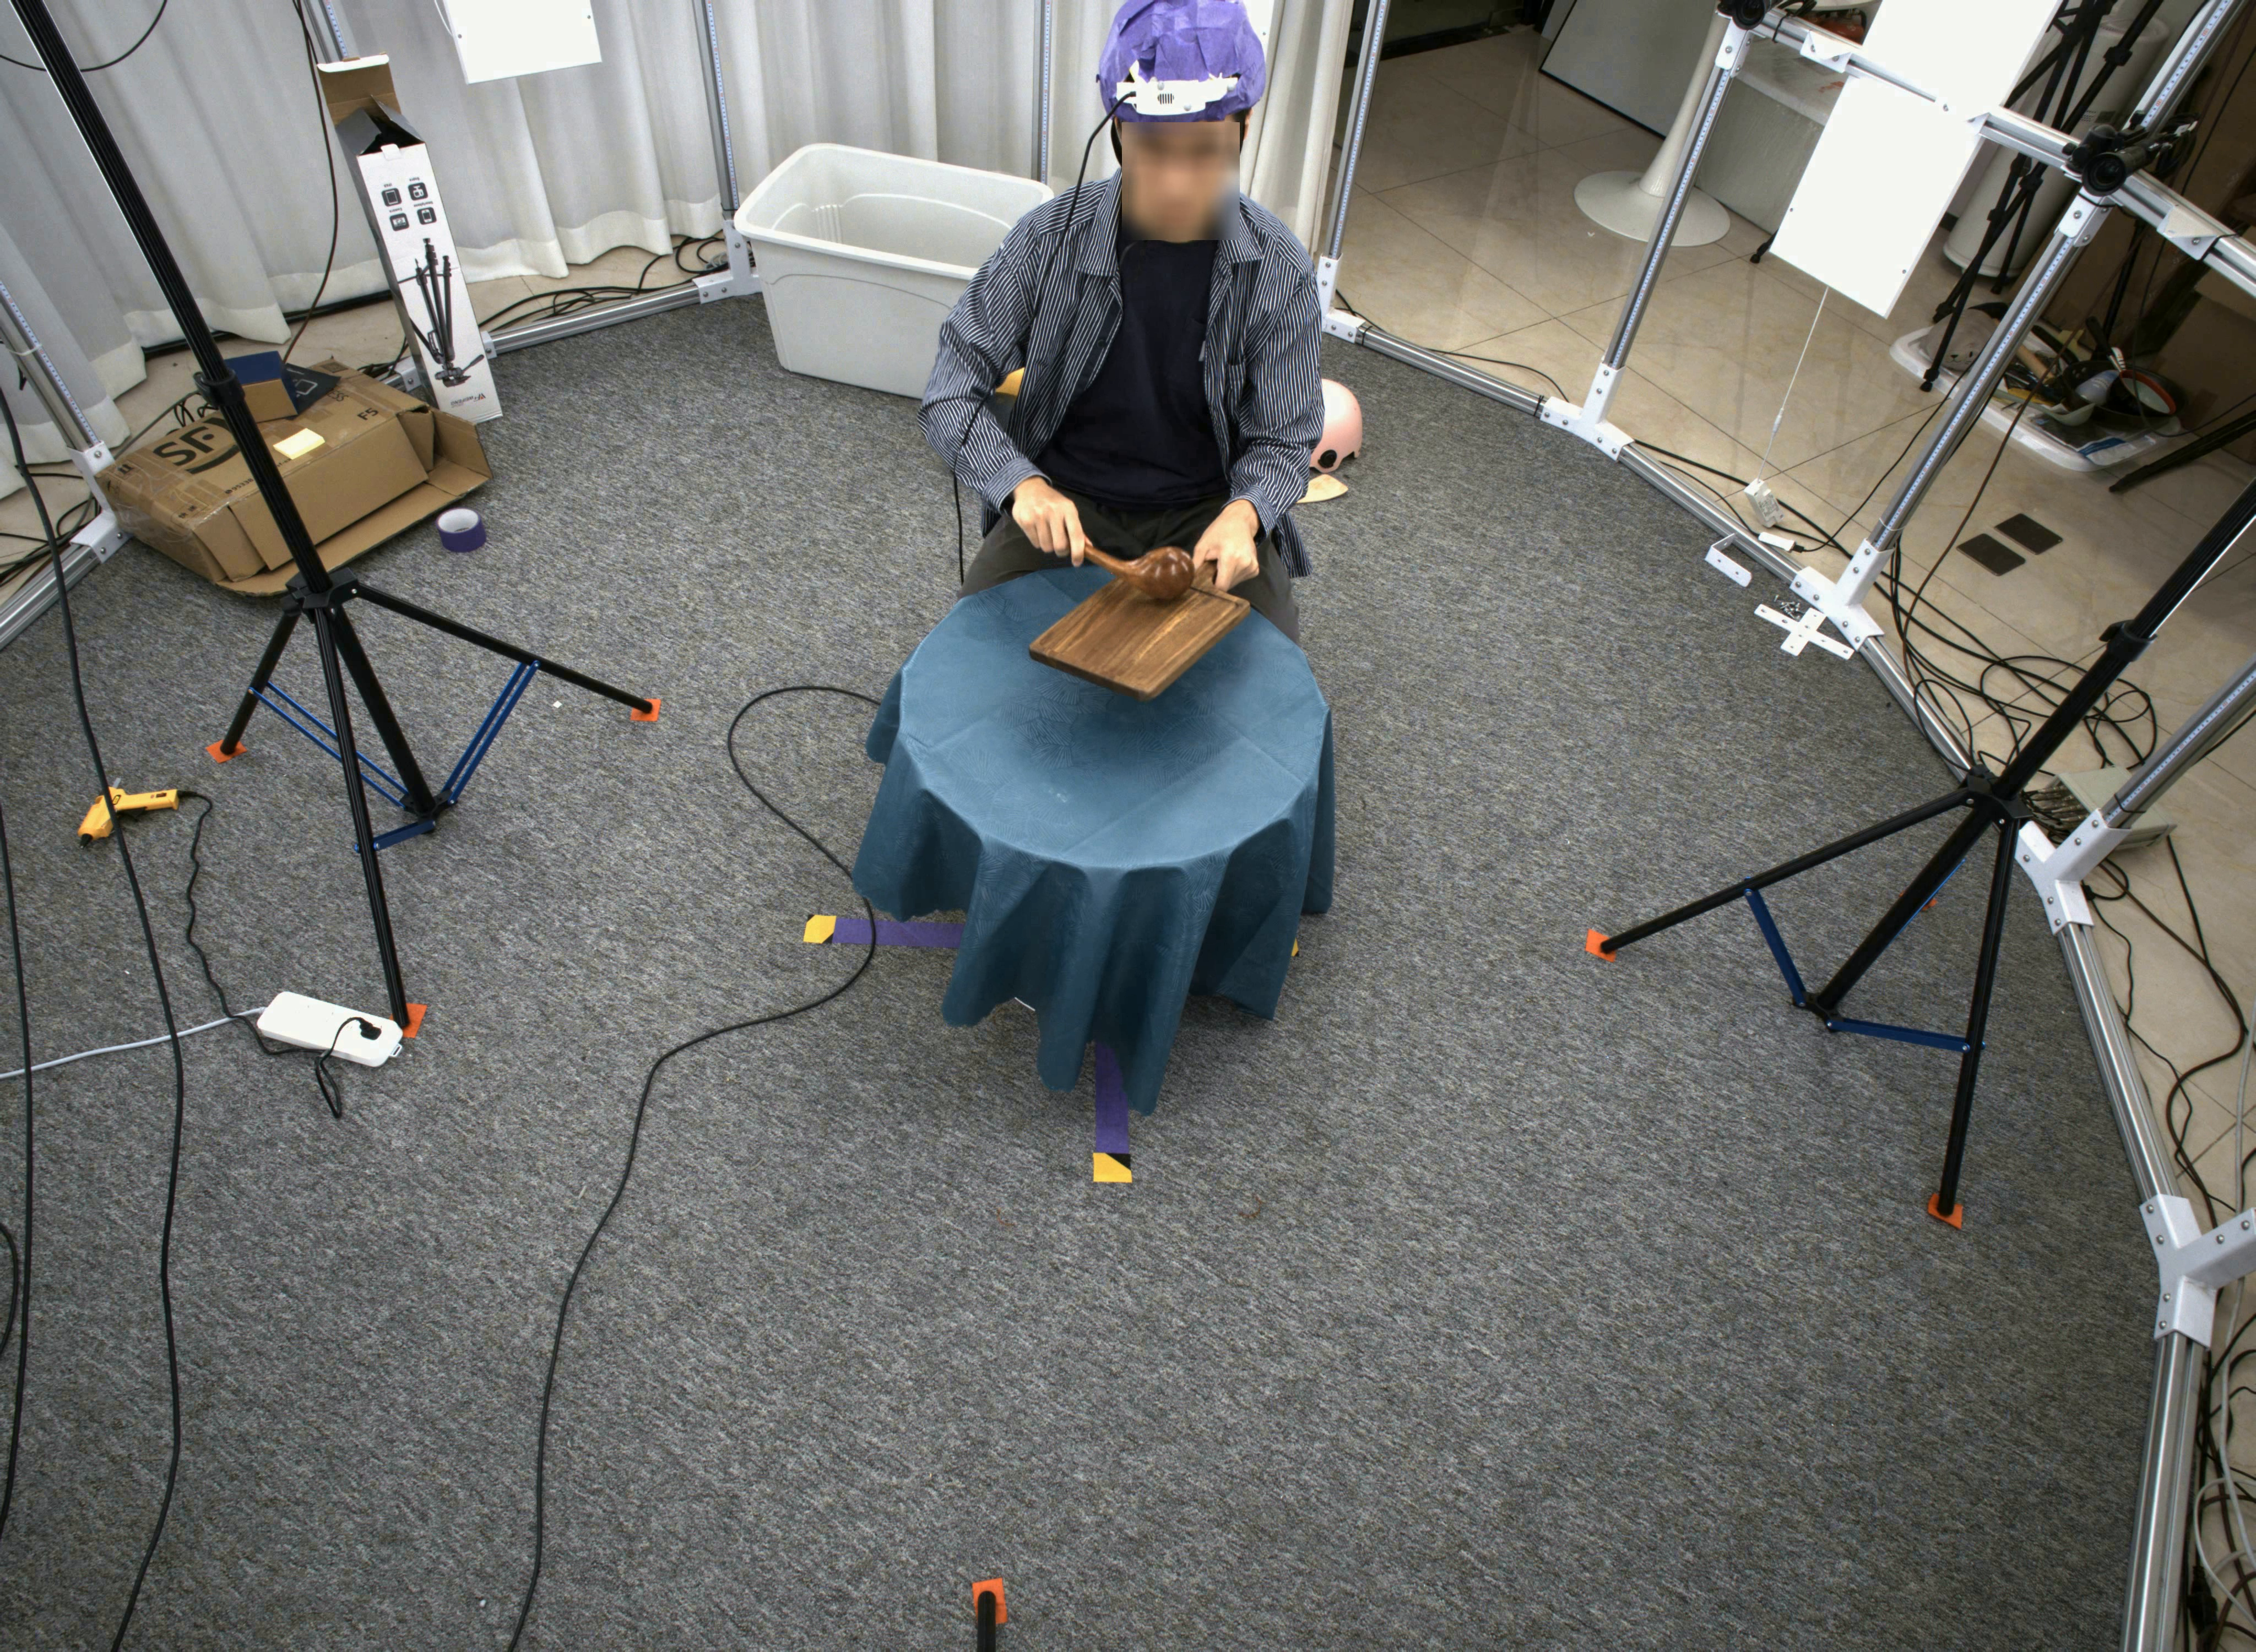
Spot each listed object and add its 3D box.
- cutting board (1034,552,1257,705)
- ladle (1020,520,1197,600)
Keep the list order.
[{"bbox_3d":[0.055,-0.287,1.742,0.203,0.022,0.356,24,47,27],"label":"cutting board"},{"bbox_3d":[-0.027,-0.386,1.787,0.278,0.080,0.077,30,46,31],"label":"ladle"}]
